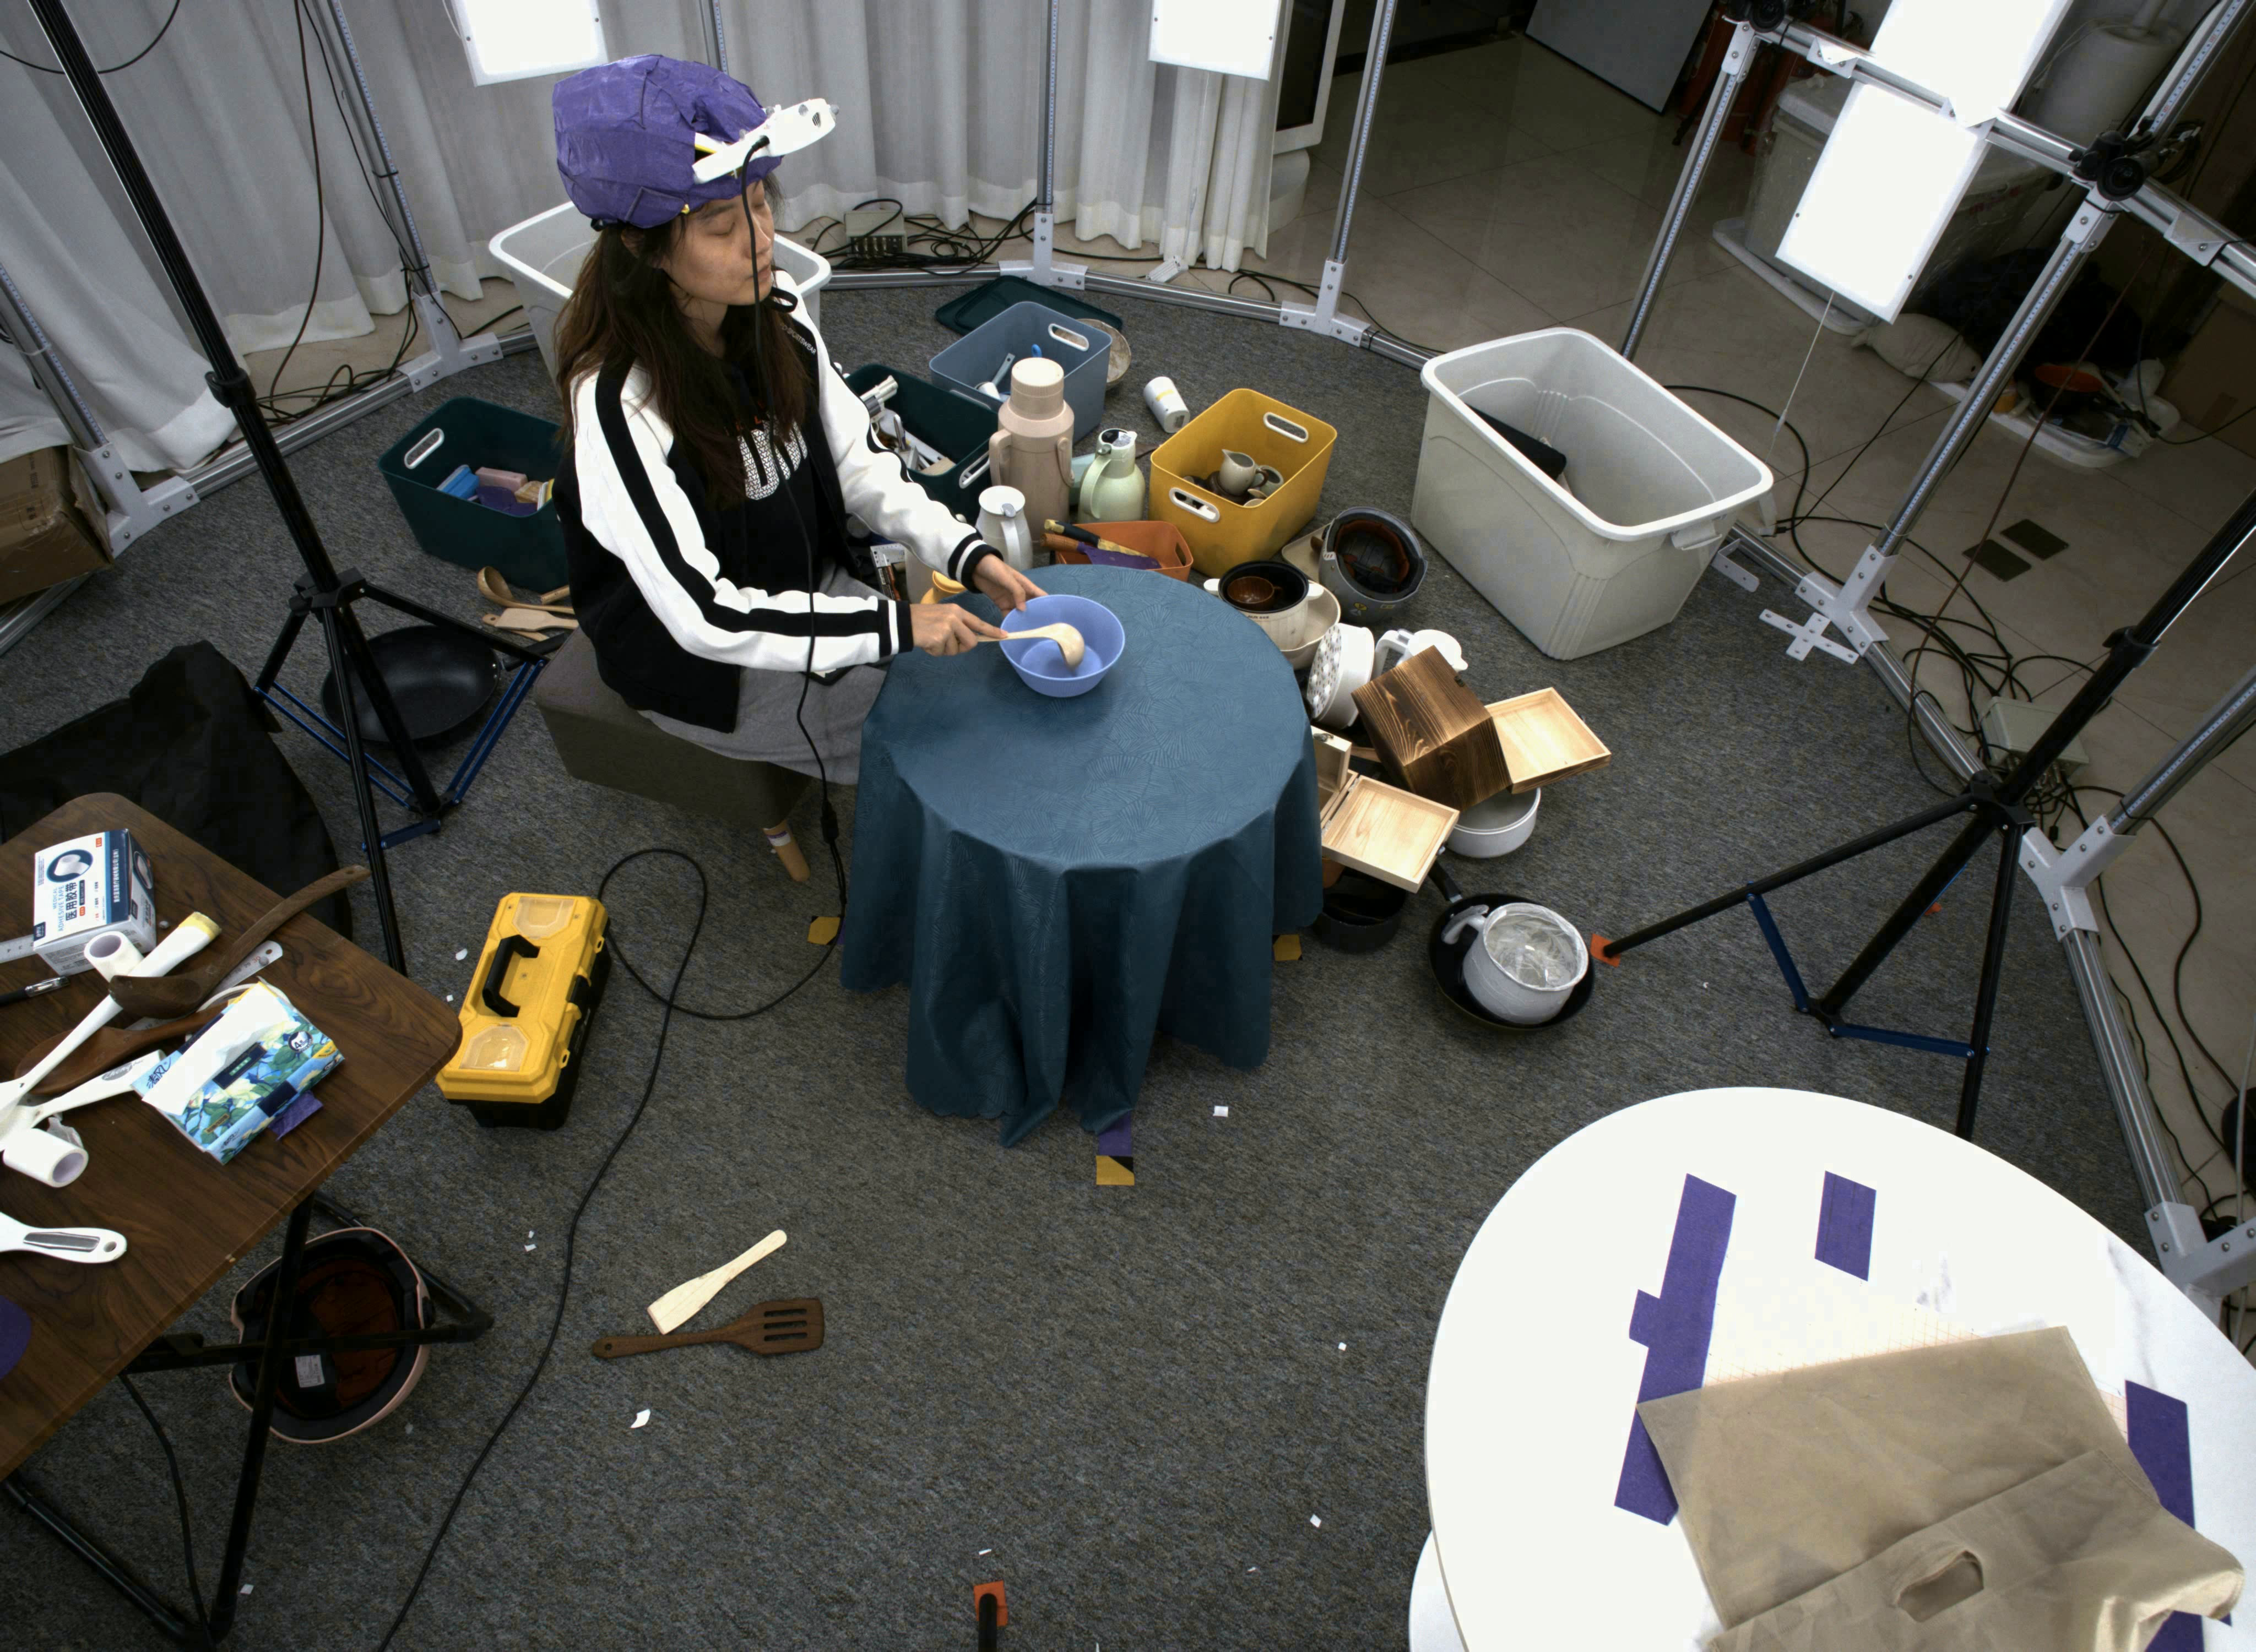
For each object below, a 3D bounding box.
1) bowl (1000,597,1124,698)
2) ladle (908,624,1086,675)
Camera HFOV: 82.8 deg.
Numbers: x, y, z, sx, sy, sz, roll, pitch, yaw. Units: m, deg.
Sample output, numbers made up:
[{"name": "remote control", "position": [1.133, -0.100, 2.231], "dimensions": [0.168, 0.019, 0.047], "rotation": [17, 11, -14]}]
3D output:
[{"name": "bowl", "position": [-0.095, -0.246, 1.832], "dimensions": [0.176, 0.068, 0.180], "rotation": [2, 48, -3]}, {"name": "ladle", "position": [-0.183, -0.244, 1.787], "dimensions": [0.254, 0.071, 0.074], "rotation": [-4, 51, -22]}]
